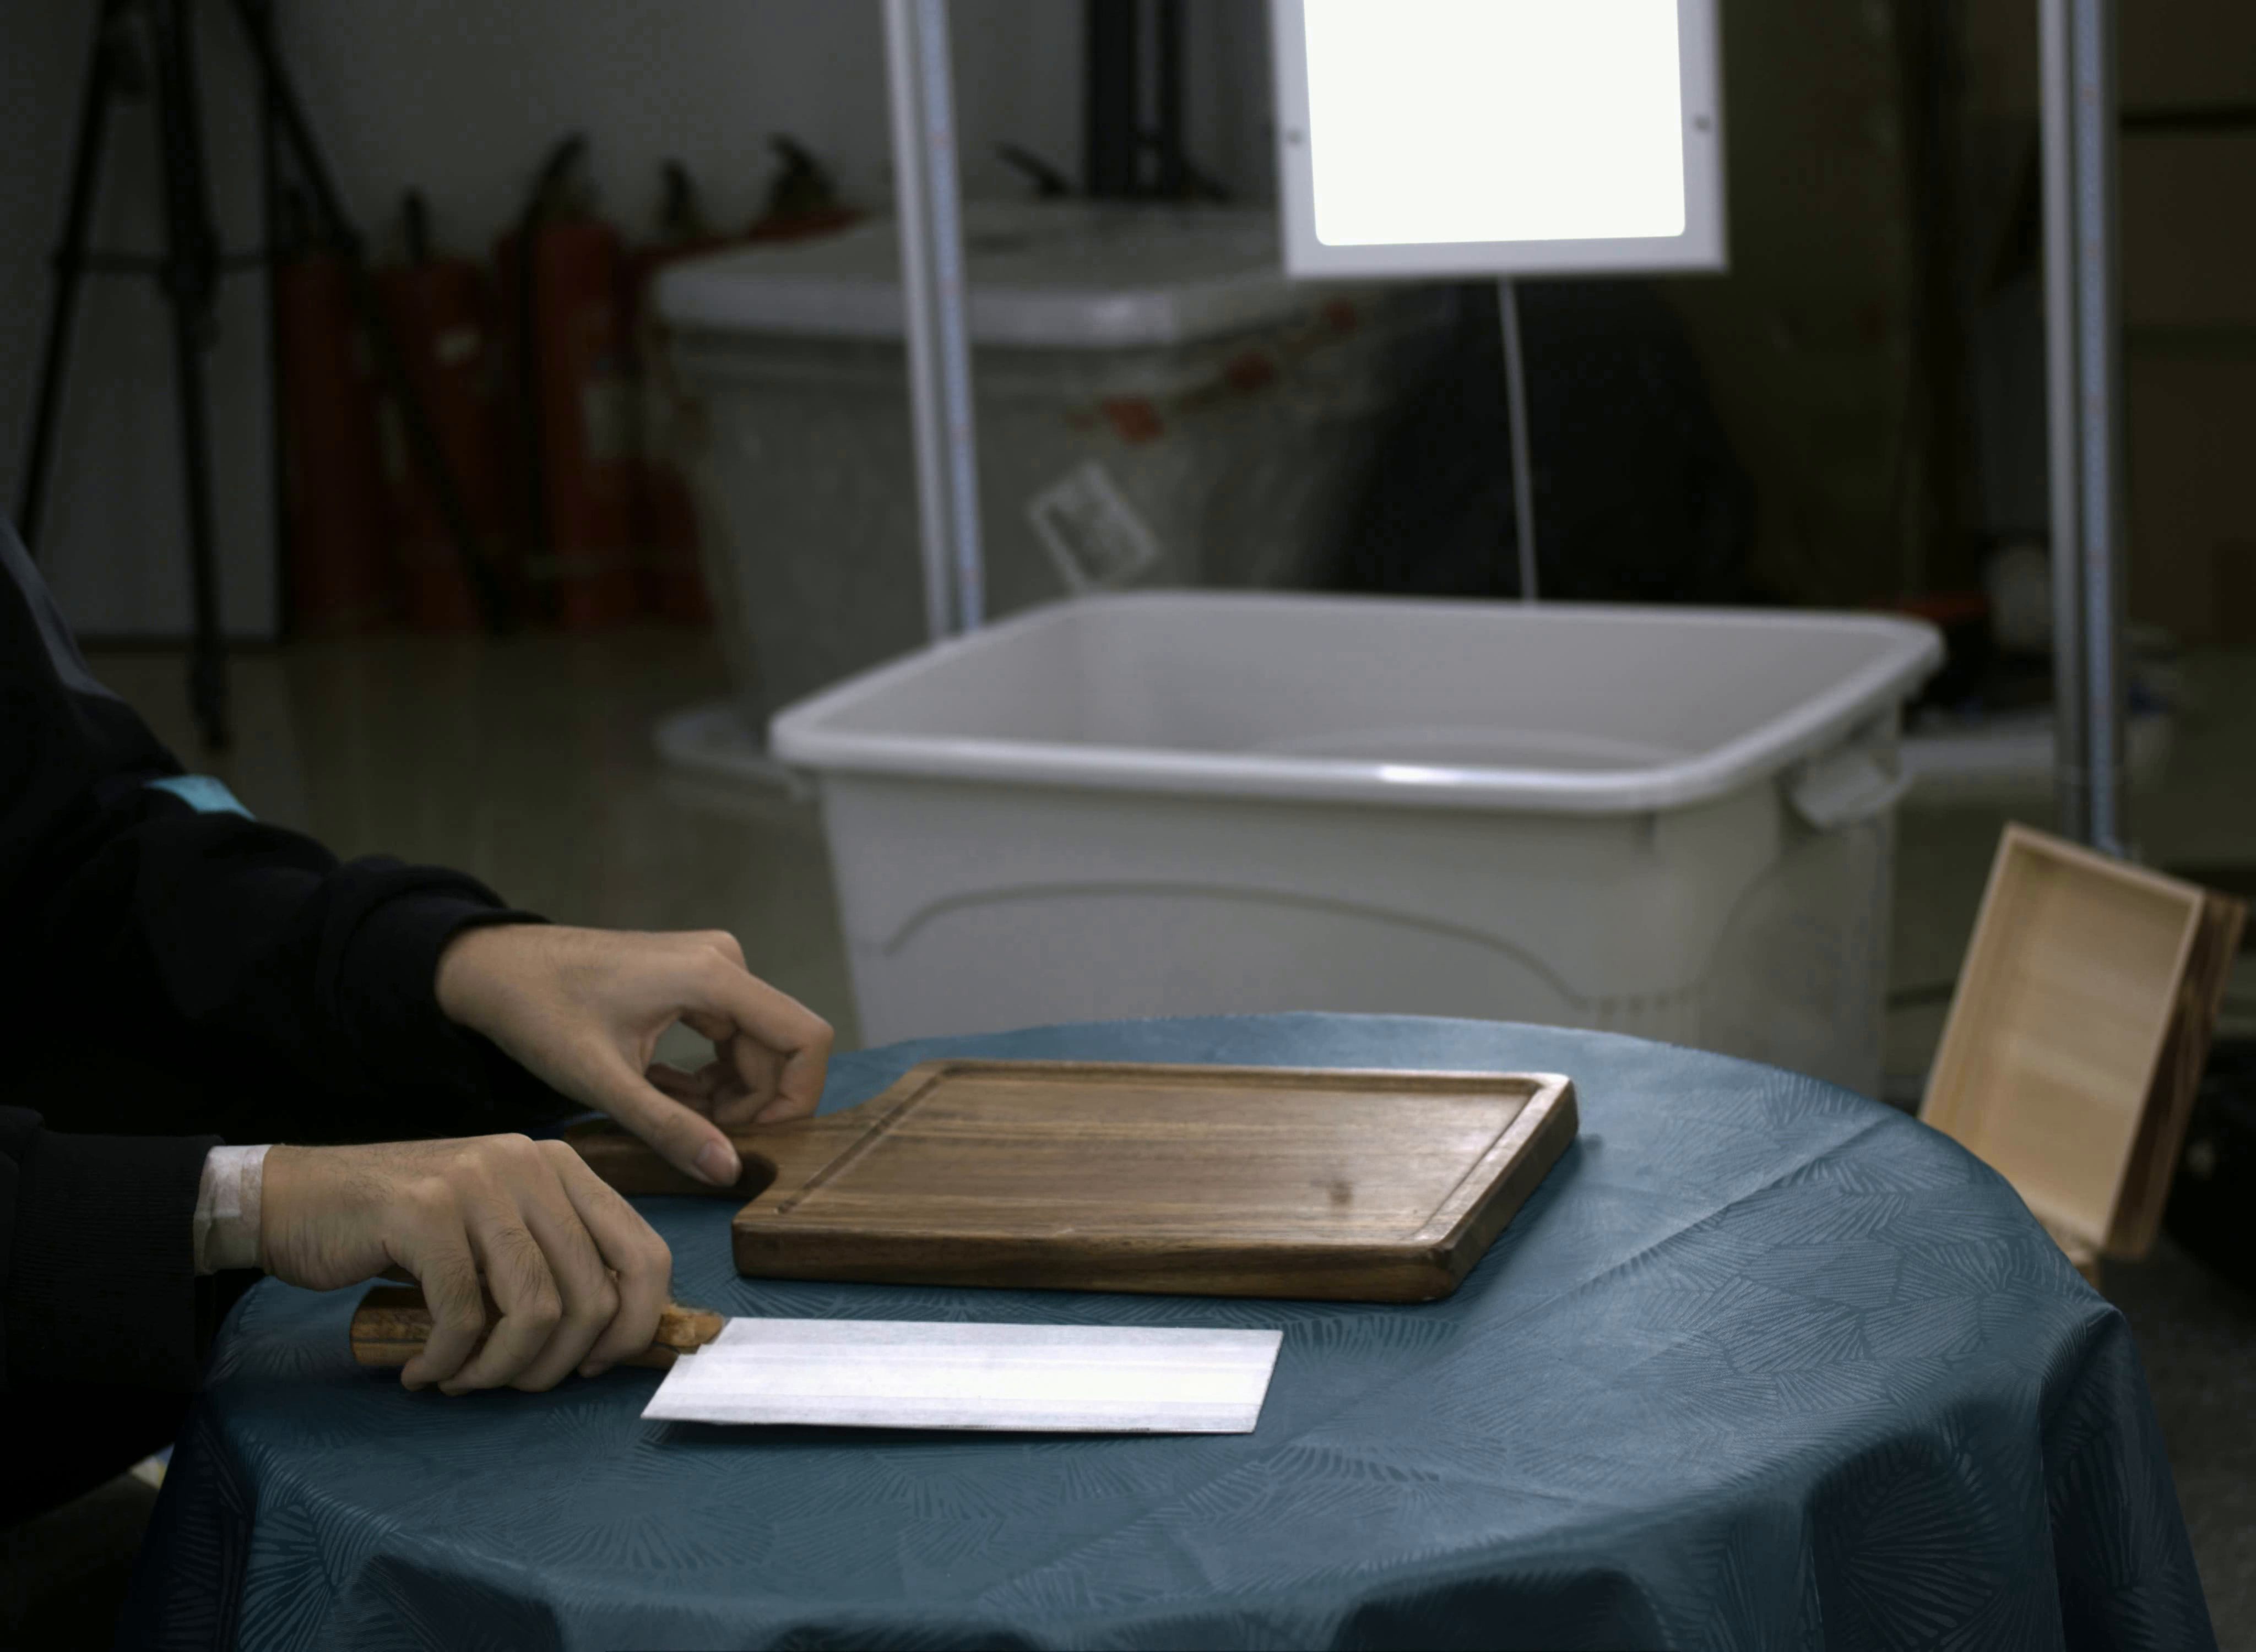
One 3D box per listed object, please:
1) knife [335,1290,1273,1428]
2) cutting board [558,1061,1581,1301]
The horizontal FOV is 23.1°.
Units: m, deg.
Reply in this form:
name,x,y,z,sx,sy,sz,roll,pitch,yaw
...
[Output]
name,x,y,z,sx,sy,sz,roll,pitch,yaw
knife,-0.106,0.169,1.725,0.307,0.021,0.092,1,15,10
cutting board,-0.033,0.118,1.899,0.357,0.023,0.197,0,15,20
